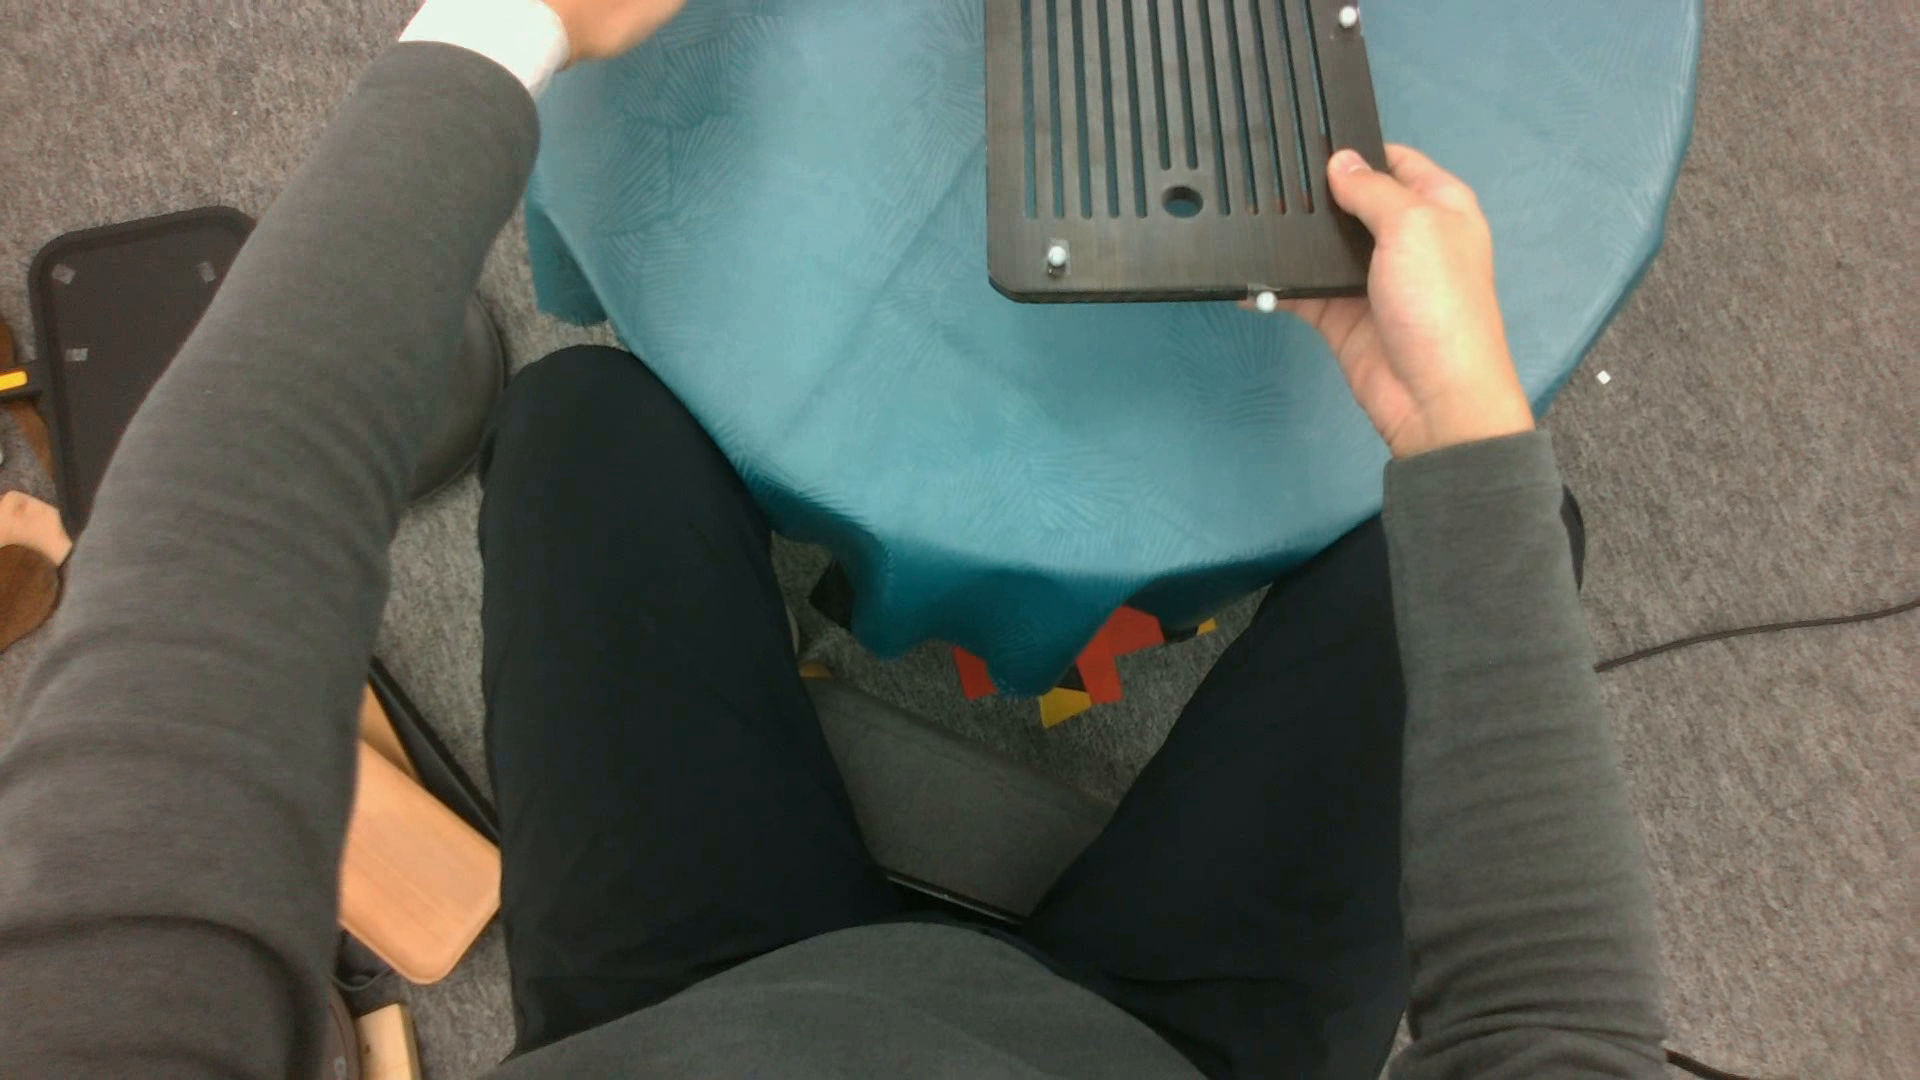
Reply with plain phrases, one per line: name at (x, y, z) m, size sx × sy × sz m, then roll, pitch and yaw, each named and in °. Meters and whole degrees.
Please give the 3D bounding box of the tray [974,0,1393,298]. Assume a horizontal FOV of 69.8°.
tray at (0.091, -0.235, 0.637) m, size 0.170 × 0.018 × 0.307 m, roll -1°, pitch 62°, yaw 0°
